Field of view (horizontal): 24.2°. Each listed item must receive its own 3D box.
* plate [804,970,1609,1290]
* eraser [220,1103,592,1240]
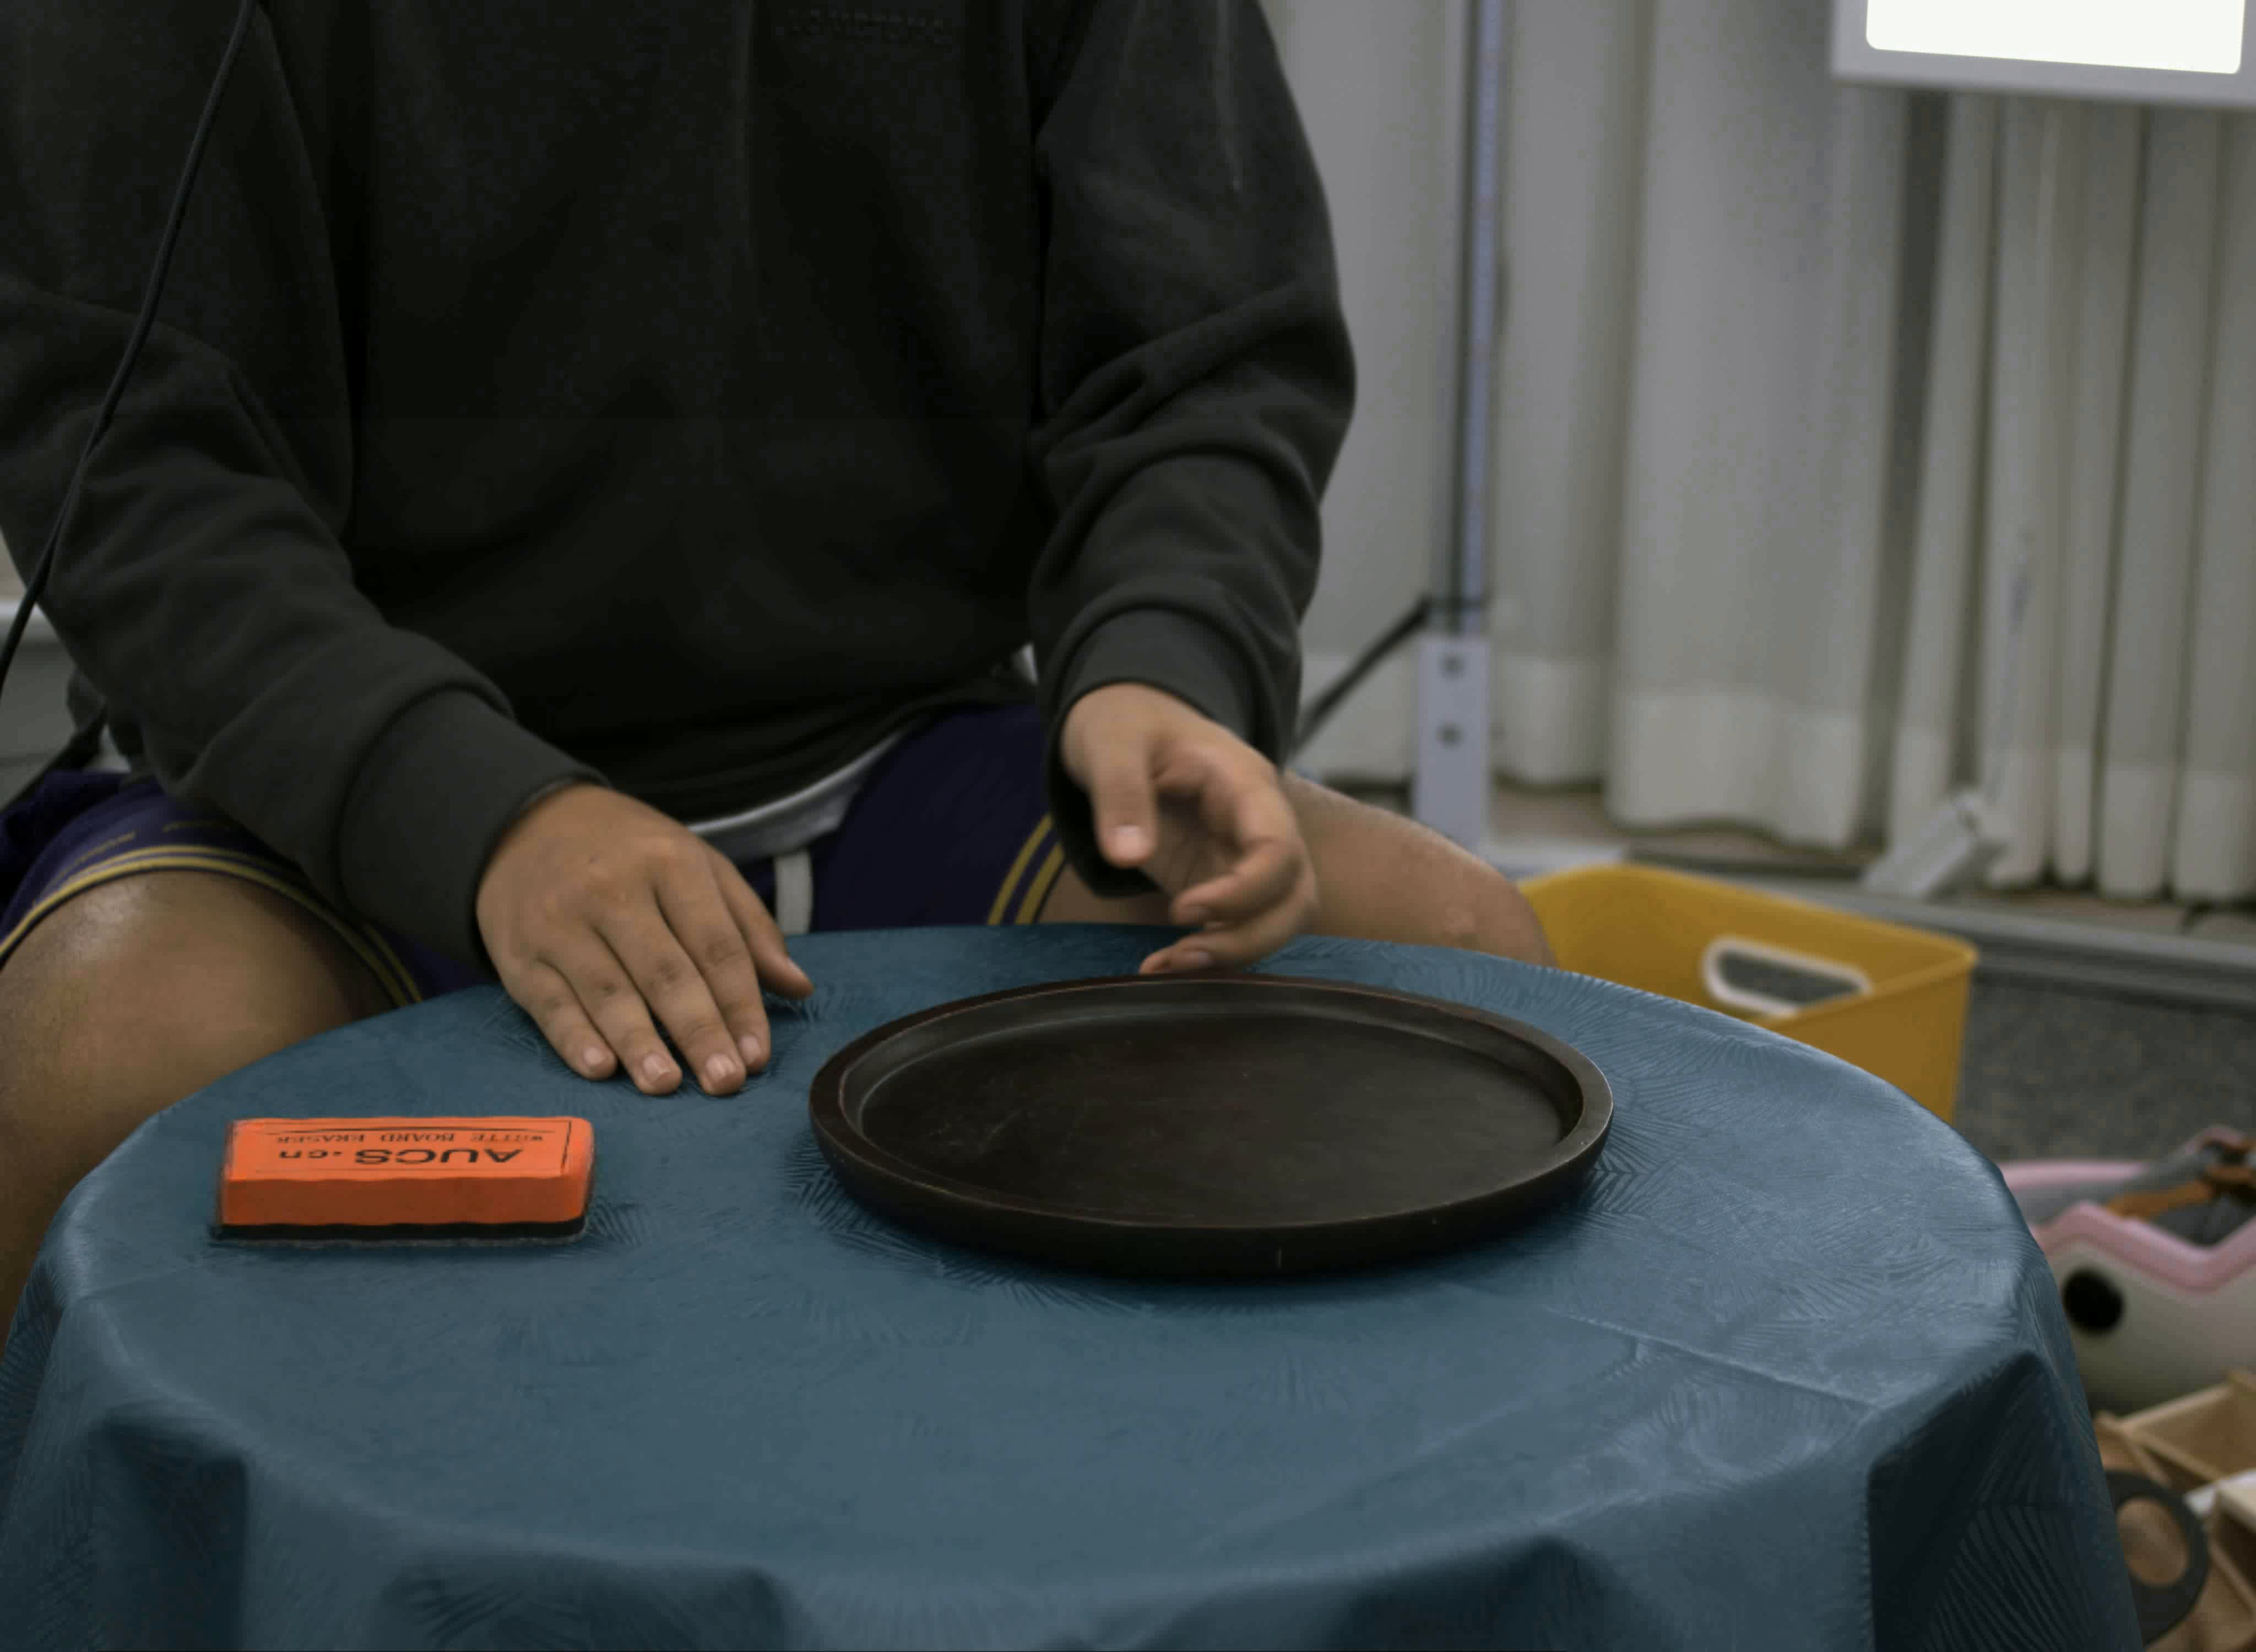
[{"bbox_3d":[0.025,0.093,1.653,0.254,0.029,0.253,-1,16,1],"label":"plate"},{"bbox_3d":[-0.217,0.104,1.589,0.108,0.023,0.058,-1,15,-3],"label":"eraser"}]
